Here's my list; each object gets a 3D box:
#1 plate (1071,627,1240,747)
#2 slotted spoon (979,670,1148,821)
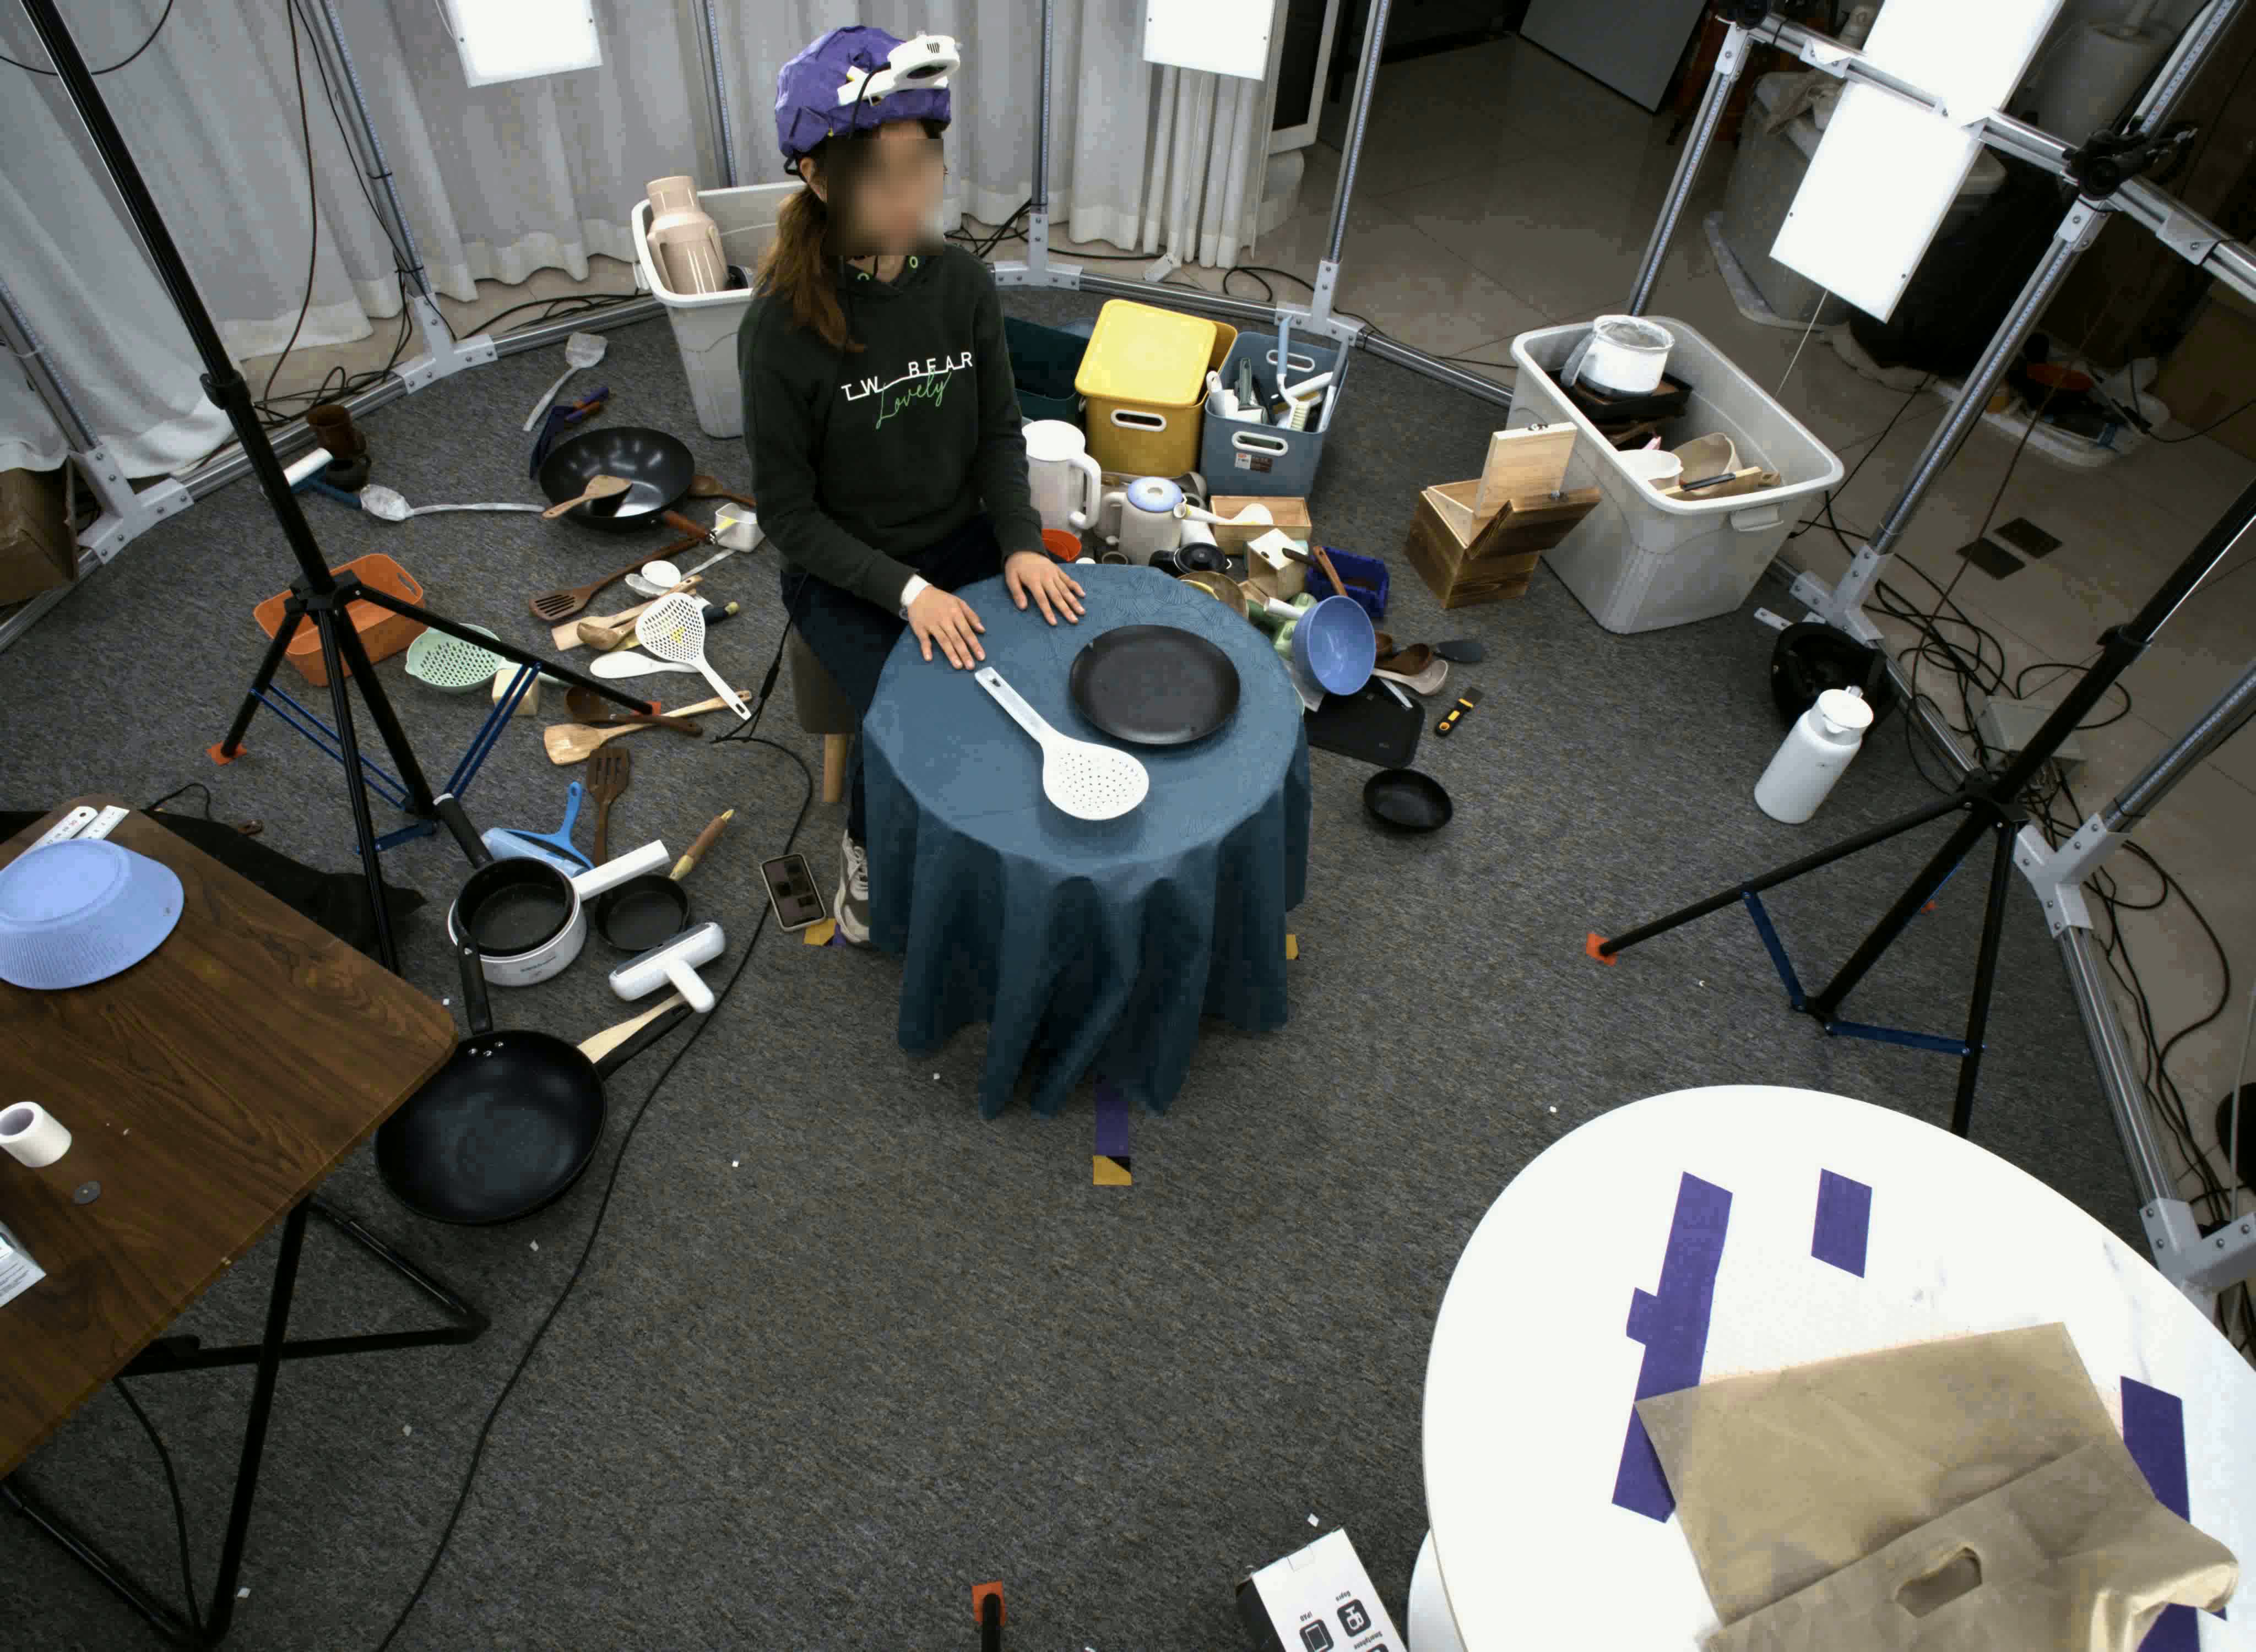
[{"bbox_3d":[0.039,-0.199,1.845,0.244,0.023,0.250,2,49,-2],"label":"plate"},{"bbox_3d":[-0.104,-0.116,1.748,0.136,0.044,0.356,-25,54,-25],"label":"slotted spoon"}]
